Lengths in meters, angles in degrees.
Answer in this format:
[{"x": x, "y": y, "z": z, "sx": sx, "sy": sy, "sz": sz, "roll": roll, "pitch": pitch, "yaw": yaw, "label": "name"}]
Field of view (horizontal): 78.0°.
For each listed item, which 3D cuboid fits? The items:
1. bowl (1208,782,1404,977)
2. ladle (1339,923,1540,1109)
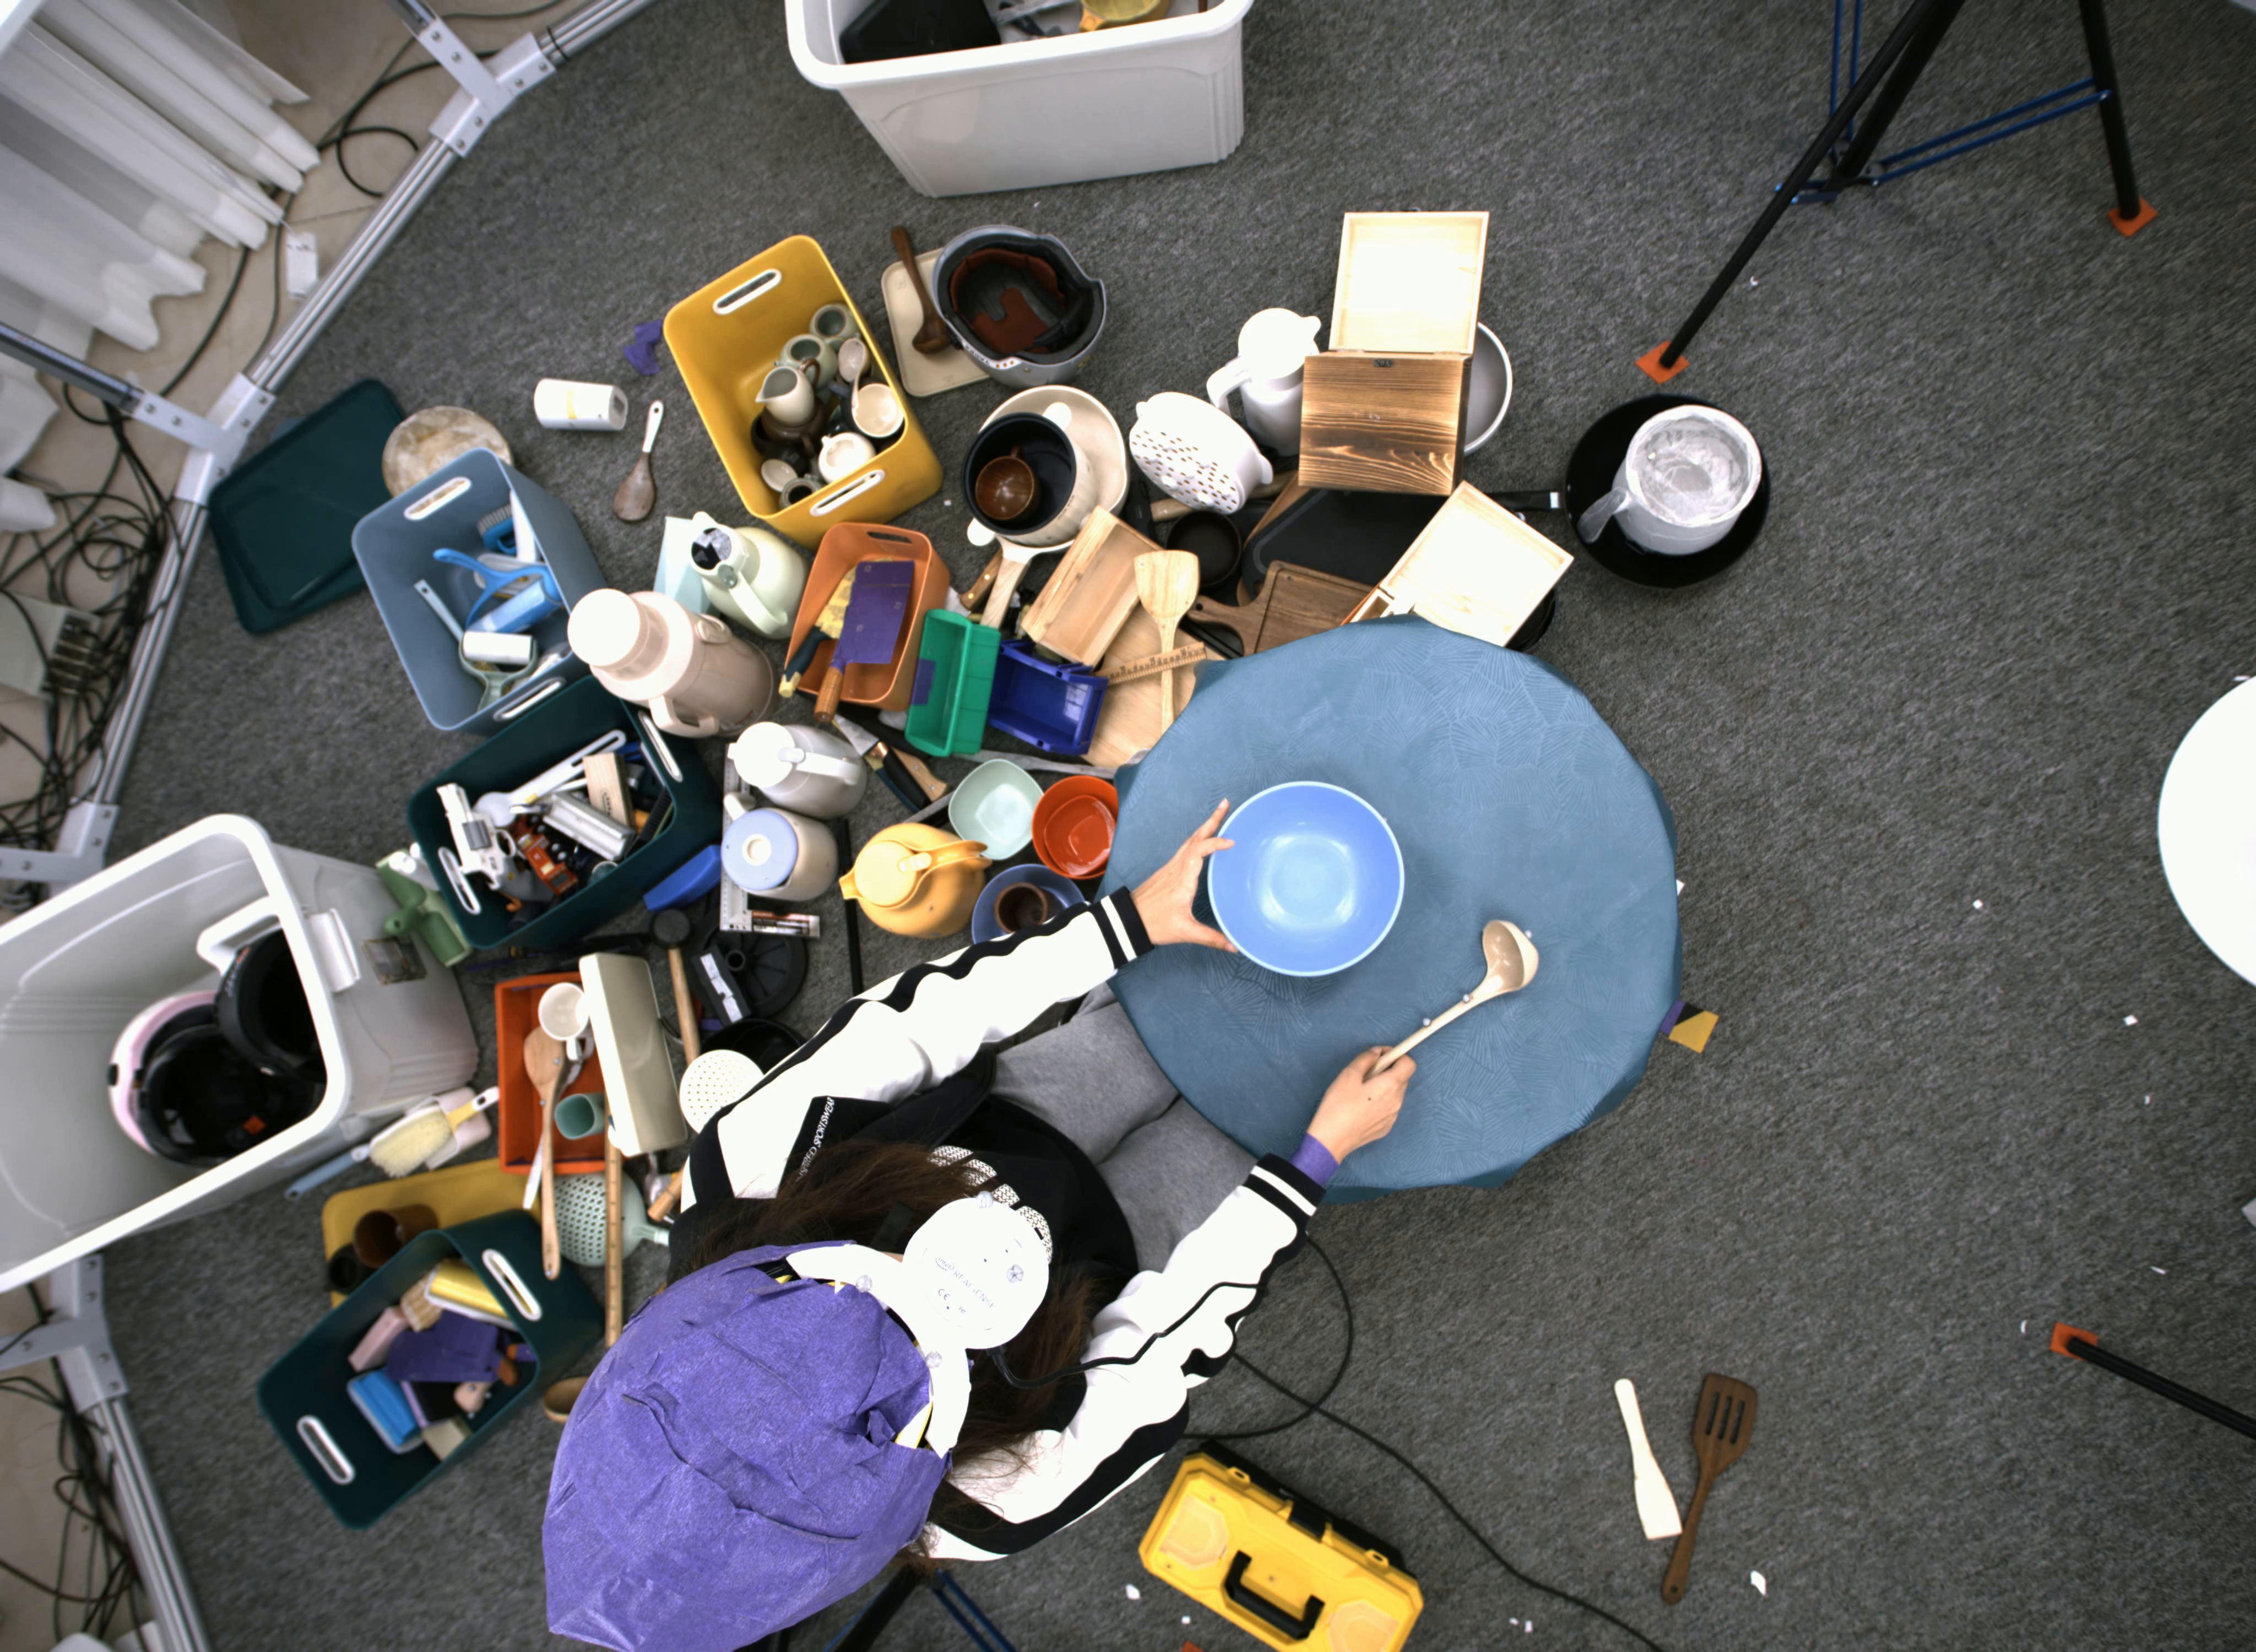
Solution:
[{"x": 0.185, "y": 0.056, "z": 1.432, "sx": 0.197, "sy": 0.095, "sz": 0.196, "roll": -1, "pitch": 88, "yaw": 9, "label": "bowl"}, {"x": 0.306, "y": 0.192, "z": 1.403, "sx": 0.255, "sy": 0.074, "sz": 0.071, "roll": -38, "pitch": 49, "yaw": 2, "label": "ladle"}]
